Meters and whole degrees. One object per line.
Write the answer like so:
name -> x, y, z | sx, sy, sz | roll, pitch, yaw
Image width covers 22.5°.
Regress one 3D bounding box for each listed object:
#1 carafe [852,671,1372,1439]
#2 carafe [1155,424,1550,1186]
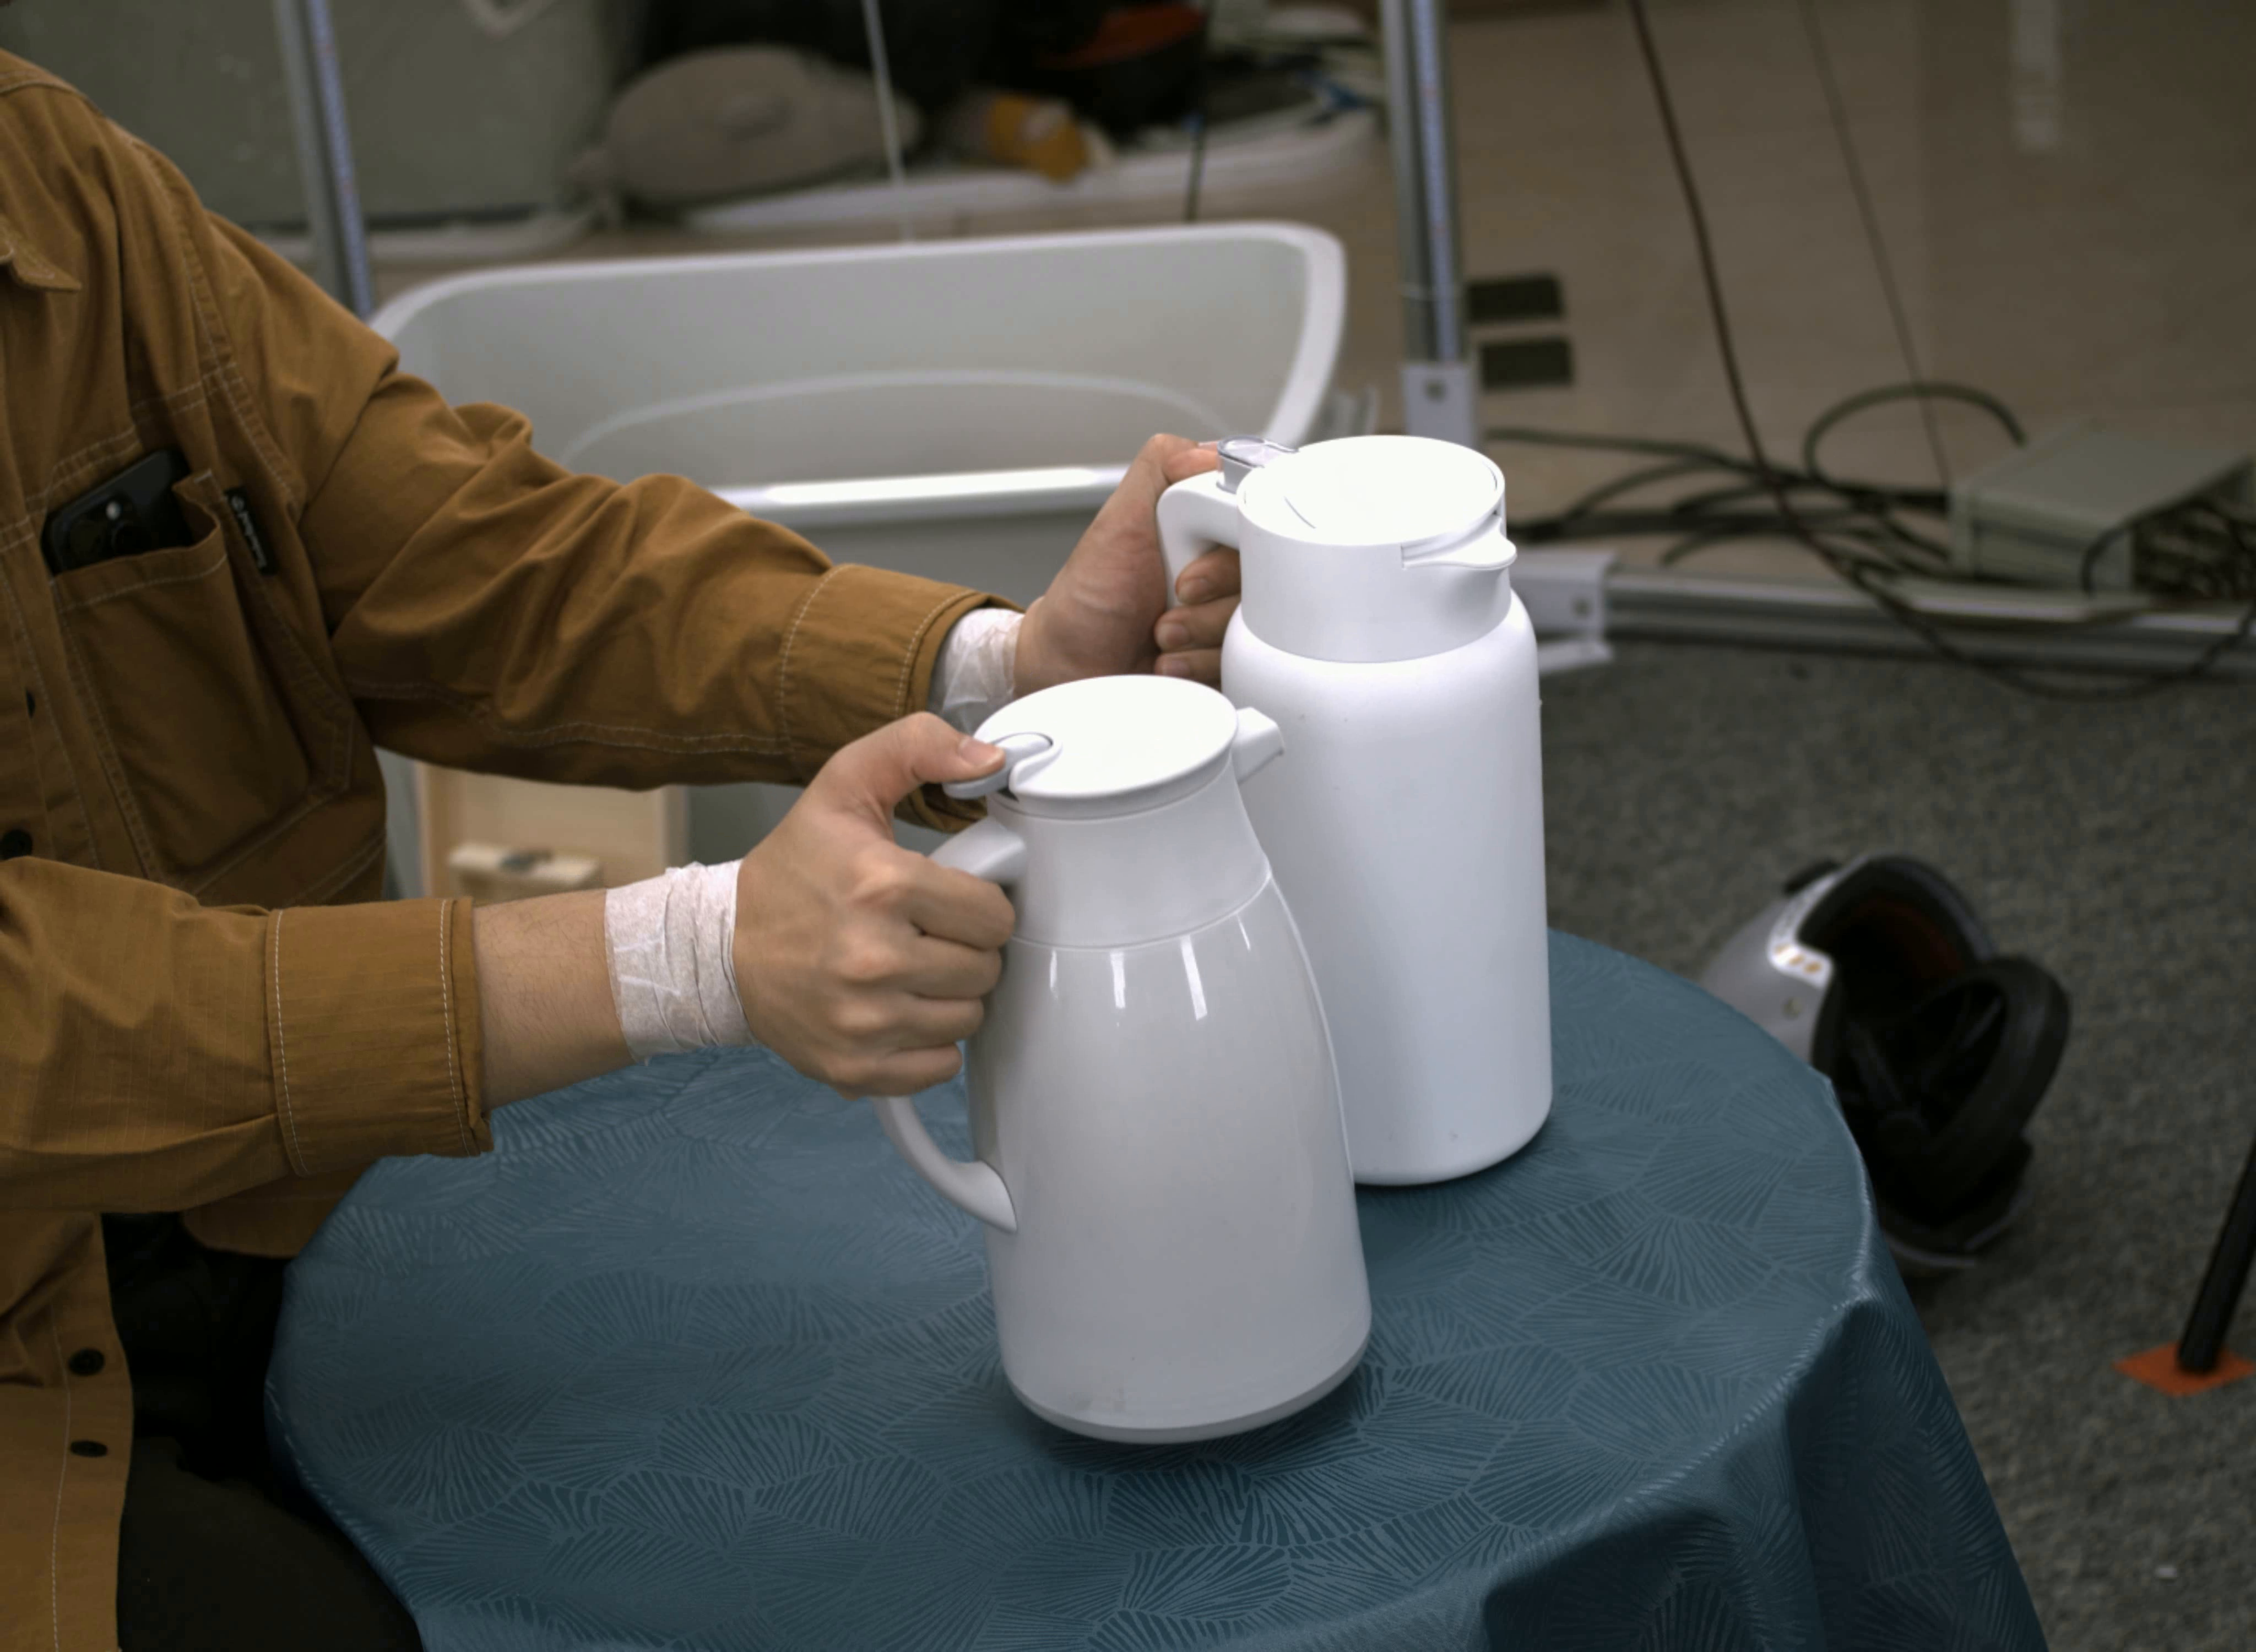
carafe -> -0.011, 0.078, 1.943 | 0.167, 0.253, 0.131 | -21, 29, -22
carafe -> 0.083, -0.010, 2.118 | 0.171, 0.273, 0.123 | 23, 40, 40
